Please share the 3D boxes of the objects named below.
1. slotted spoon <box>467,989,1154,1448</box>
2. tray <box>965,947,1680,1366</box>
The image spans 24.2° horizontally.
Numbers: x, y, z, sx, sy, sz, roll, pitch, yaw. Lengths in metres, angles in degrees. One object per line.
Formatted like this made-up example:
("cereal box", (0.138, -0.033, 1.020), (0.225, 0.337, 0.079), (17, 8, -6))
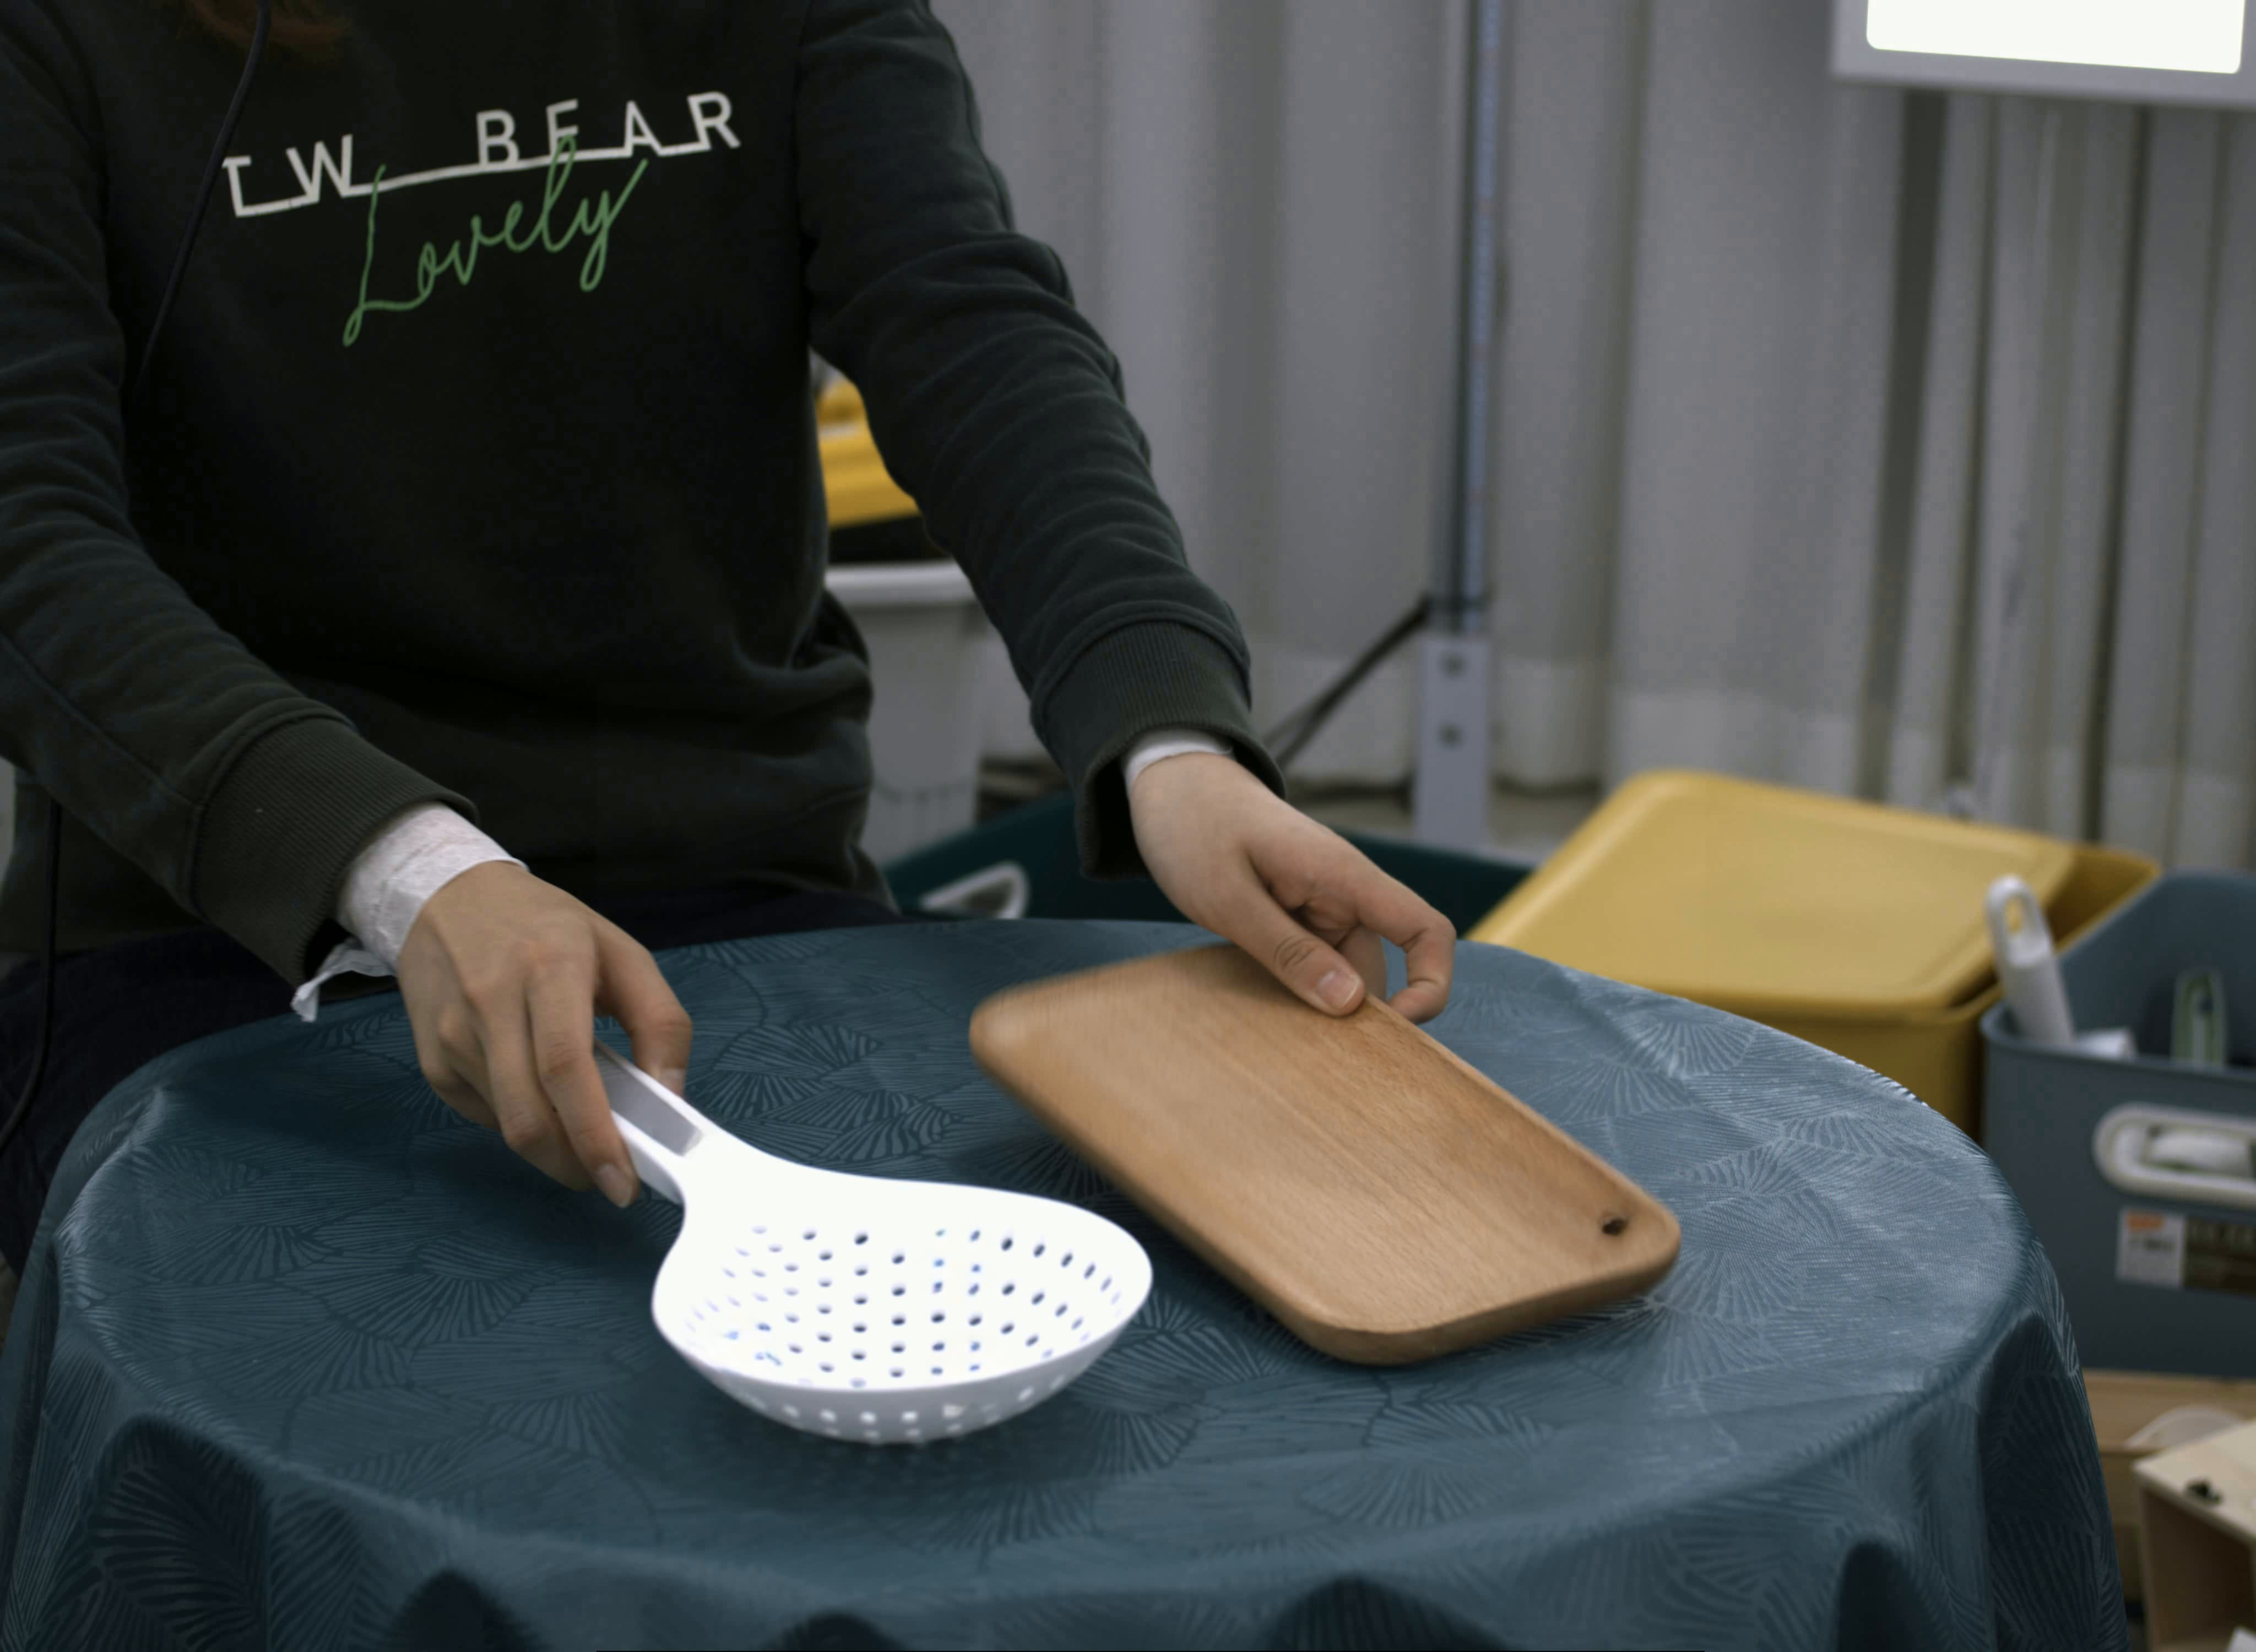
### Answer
("slotted spoon", (-0.114, 0.105, 1.521), (0.136, 0.046, 0.345), (-10, 25, -28))
("tray", (0.055, 0.097, 1.596), (0.131, 0.023, 0.247), (-14, 25, -26))
